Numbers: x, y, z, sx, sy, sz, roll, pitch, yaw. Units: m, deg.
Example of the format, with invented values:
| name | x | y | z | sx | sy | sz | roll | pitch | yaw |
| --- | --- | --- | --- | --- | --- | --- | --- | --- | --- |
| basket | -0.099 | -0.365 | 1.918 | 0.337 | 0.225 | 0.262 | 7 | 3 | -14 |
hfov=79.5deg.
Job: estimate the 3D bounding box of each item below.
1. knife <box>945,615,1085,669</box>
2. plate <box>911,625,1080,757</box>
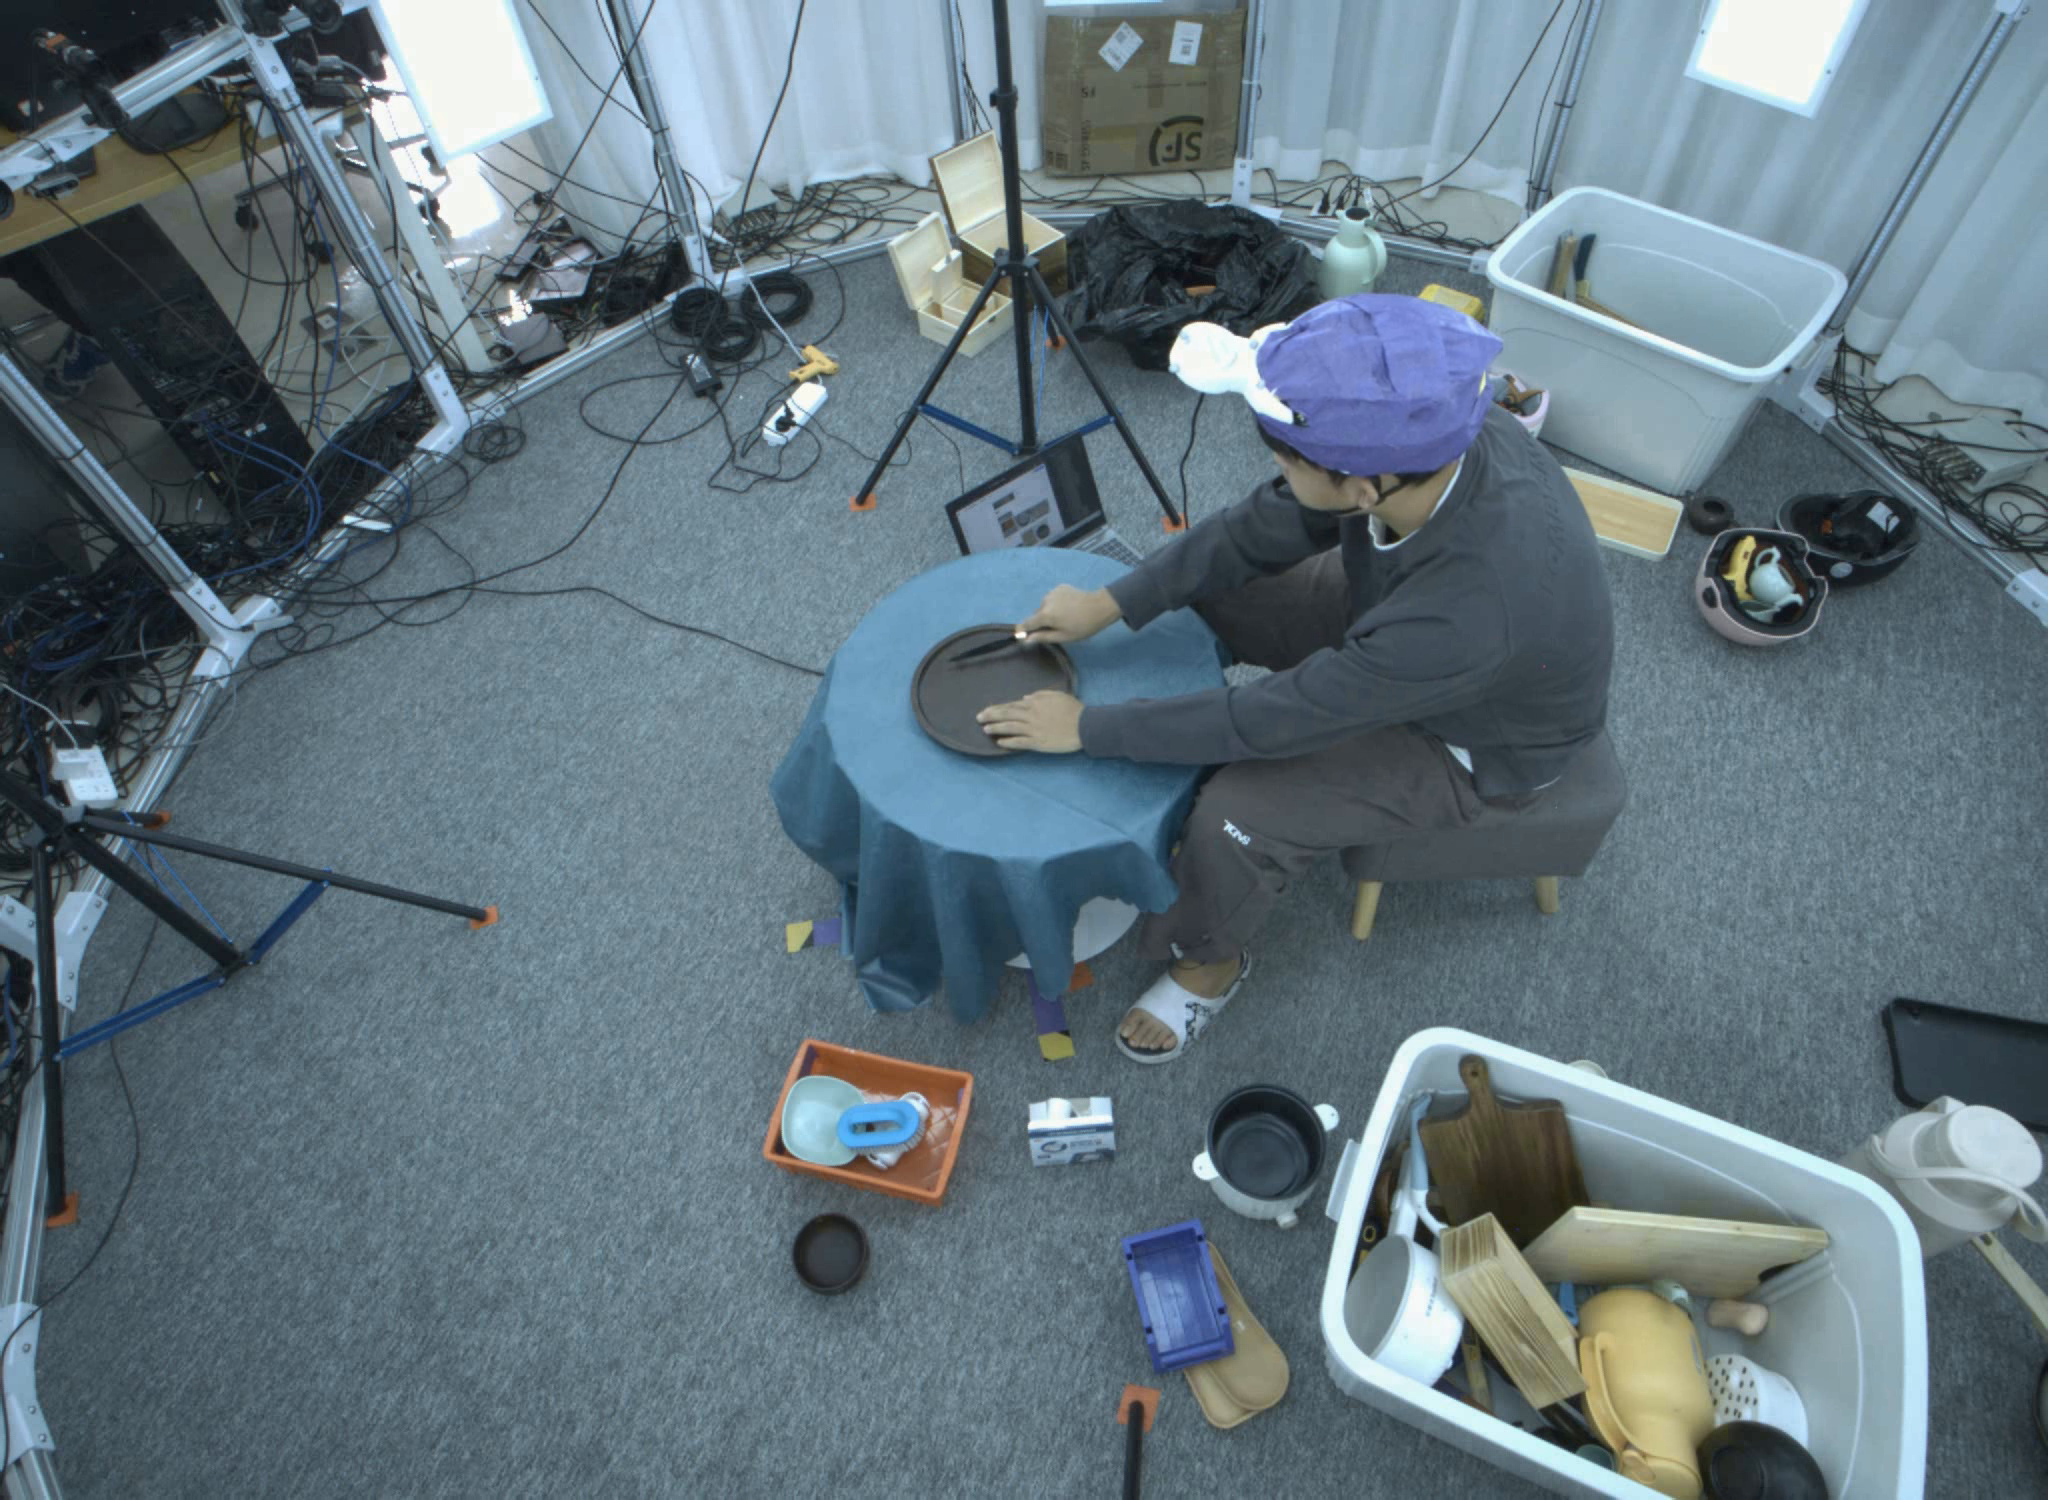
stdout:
| name | x | y | z | sx | sy | sz | roll | pitch | yaw |
| --- | --- | --- | --- | --- | --- | --- | --- | --- | --- |
| knife | -0.014 | -0.164 | 1.867 | 0.226 | 0.026 | 0.017 | -19 | 52 | -5 |
| plate | -0.043 | -0.090 | 1.838 | 0.255 | 0.029 | 0.252 | 0 | 53 | 1 |
